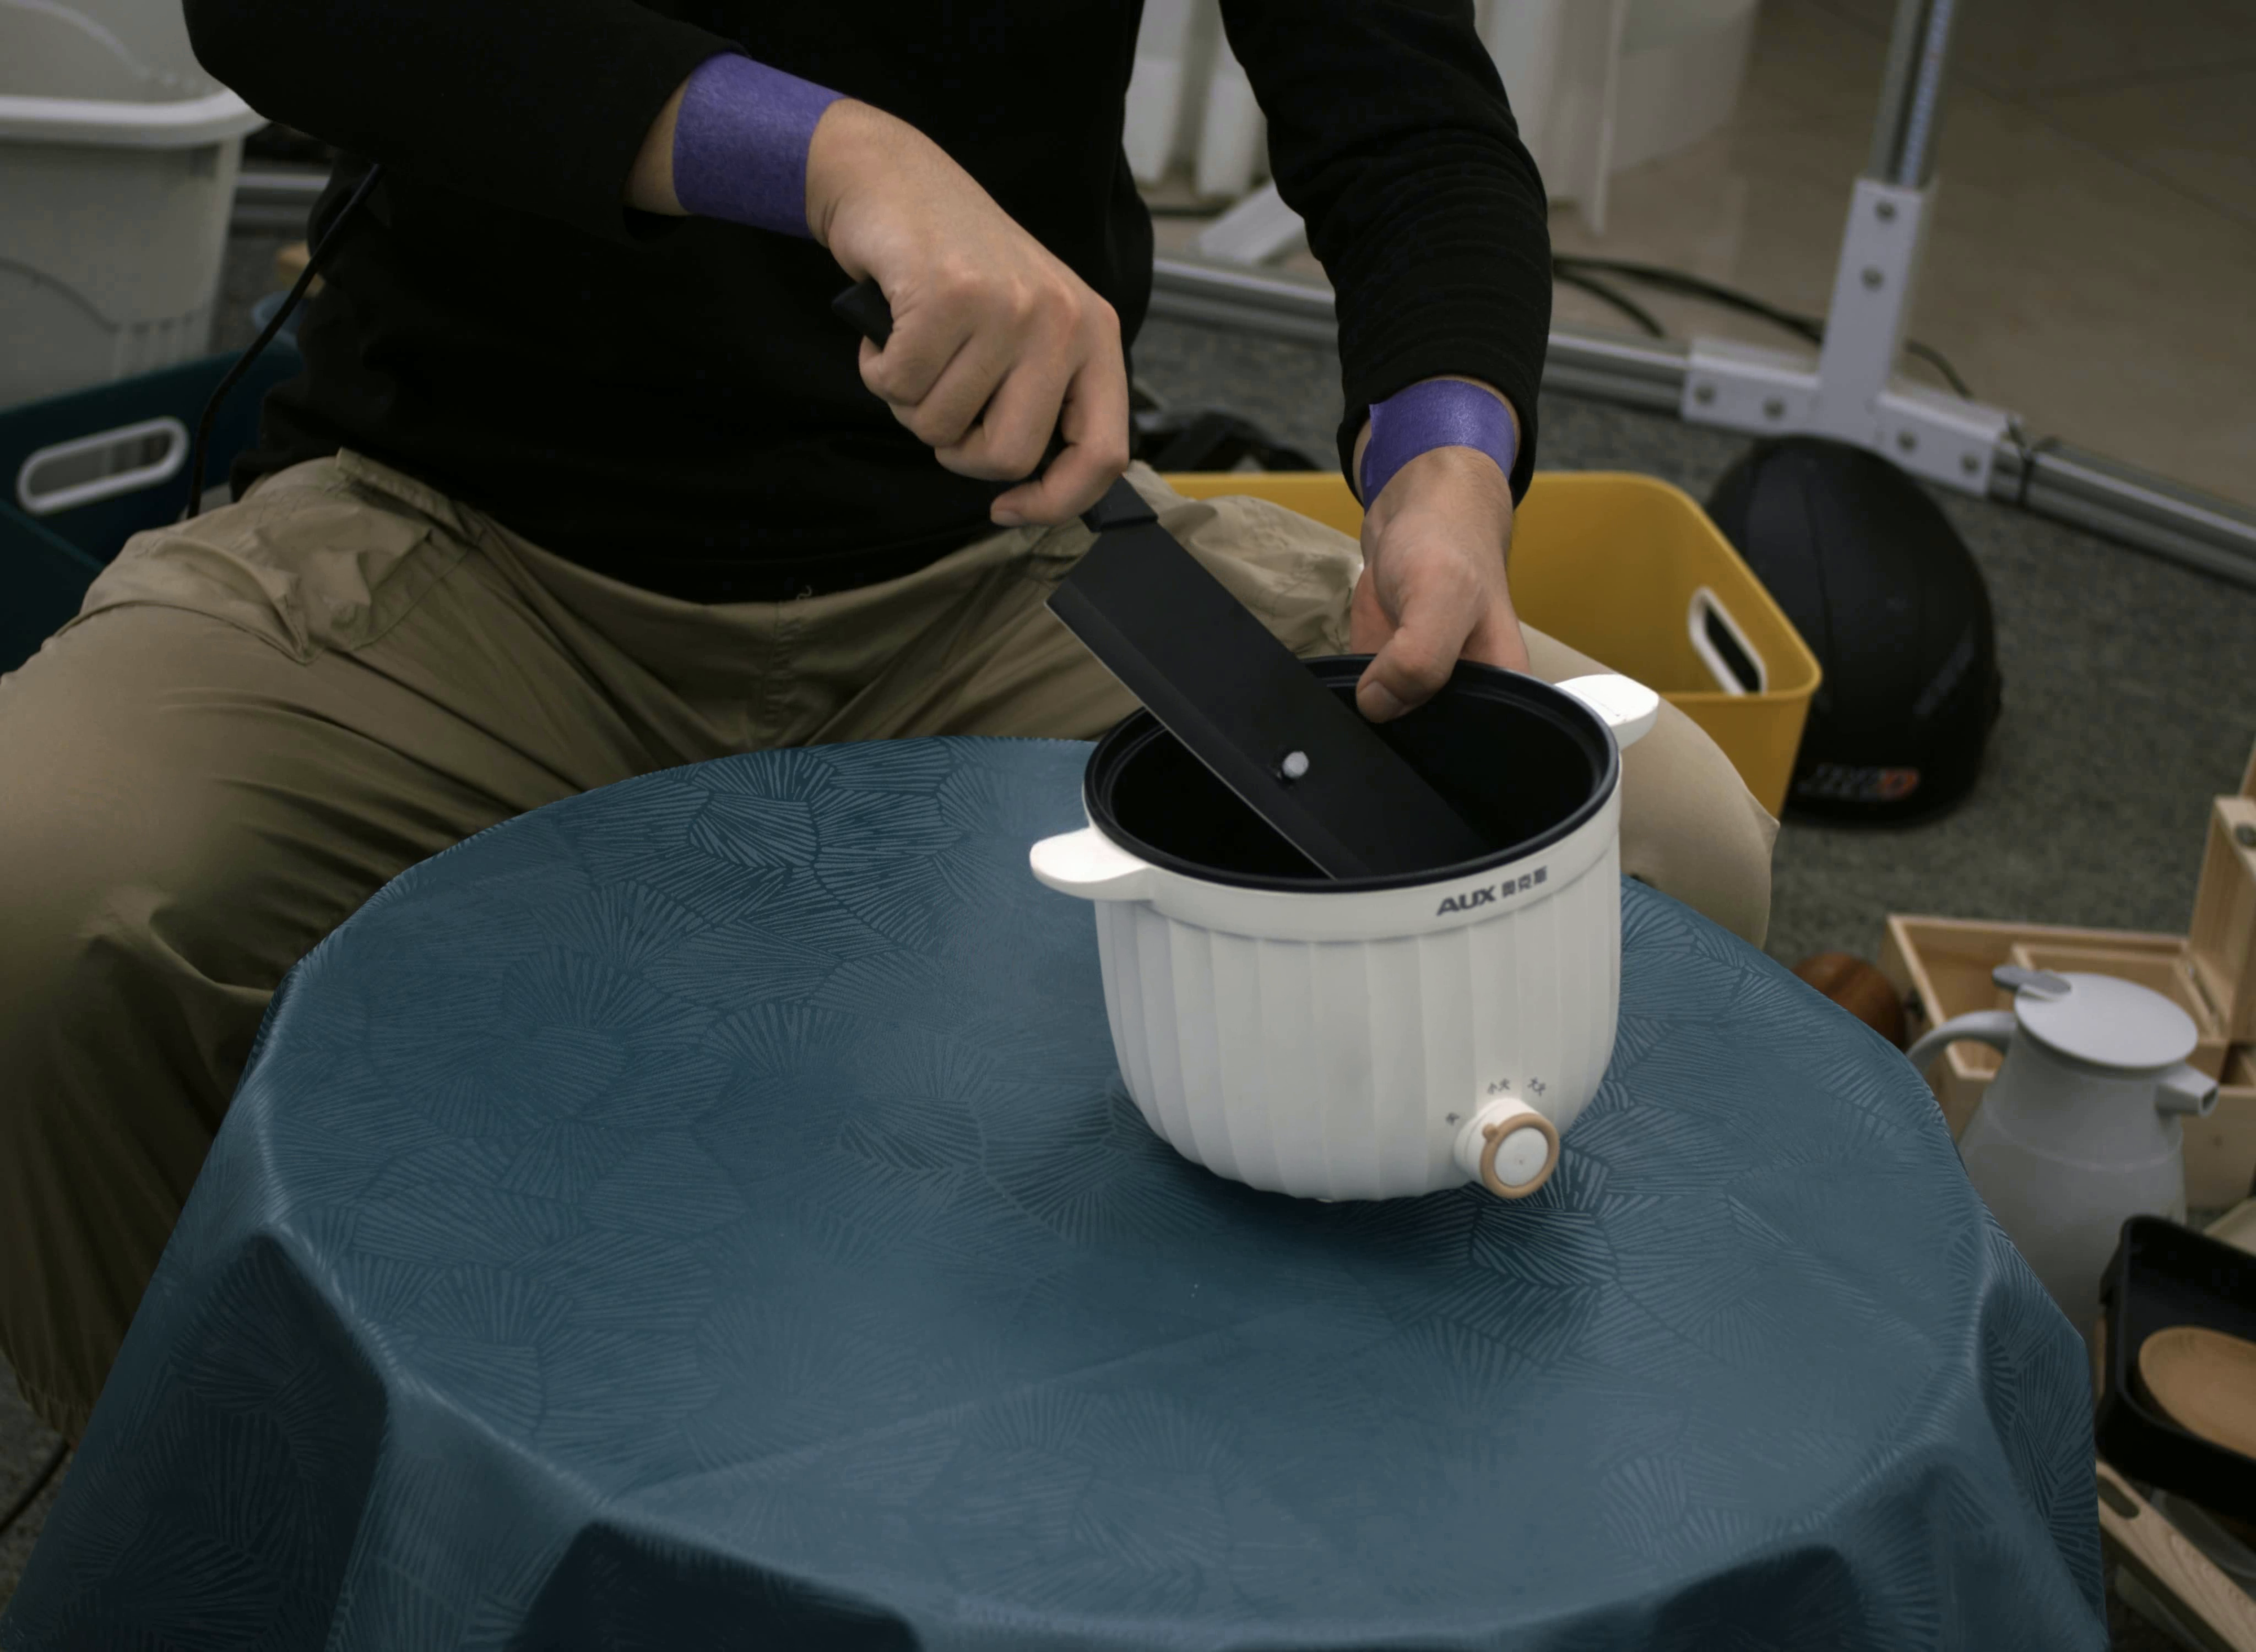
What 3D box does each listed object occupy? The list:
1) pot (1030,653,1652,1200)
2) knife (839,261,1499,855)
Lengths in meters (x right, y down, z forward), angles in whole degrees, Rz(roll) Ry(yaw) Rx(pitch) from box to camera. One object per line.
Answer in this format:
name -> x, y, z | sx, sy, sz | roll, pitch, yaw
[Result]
pot -> 0.083, 0.040, 1.814 | 0.239, 0.142, 0.192 | -18, 25, -24
knife -> 0.013, -0.082, 1.832 | 0.302, 0.021, 0.081 | 46, 47, -1
